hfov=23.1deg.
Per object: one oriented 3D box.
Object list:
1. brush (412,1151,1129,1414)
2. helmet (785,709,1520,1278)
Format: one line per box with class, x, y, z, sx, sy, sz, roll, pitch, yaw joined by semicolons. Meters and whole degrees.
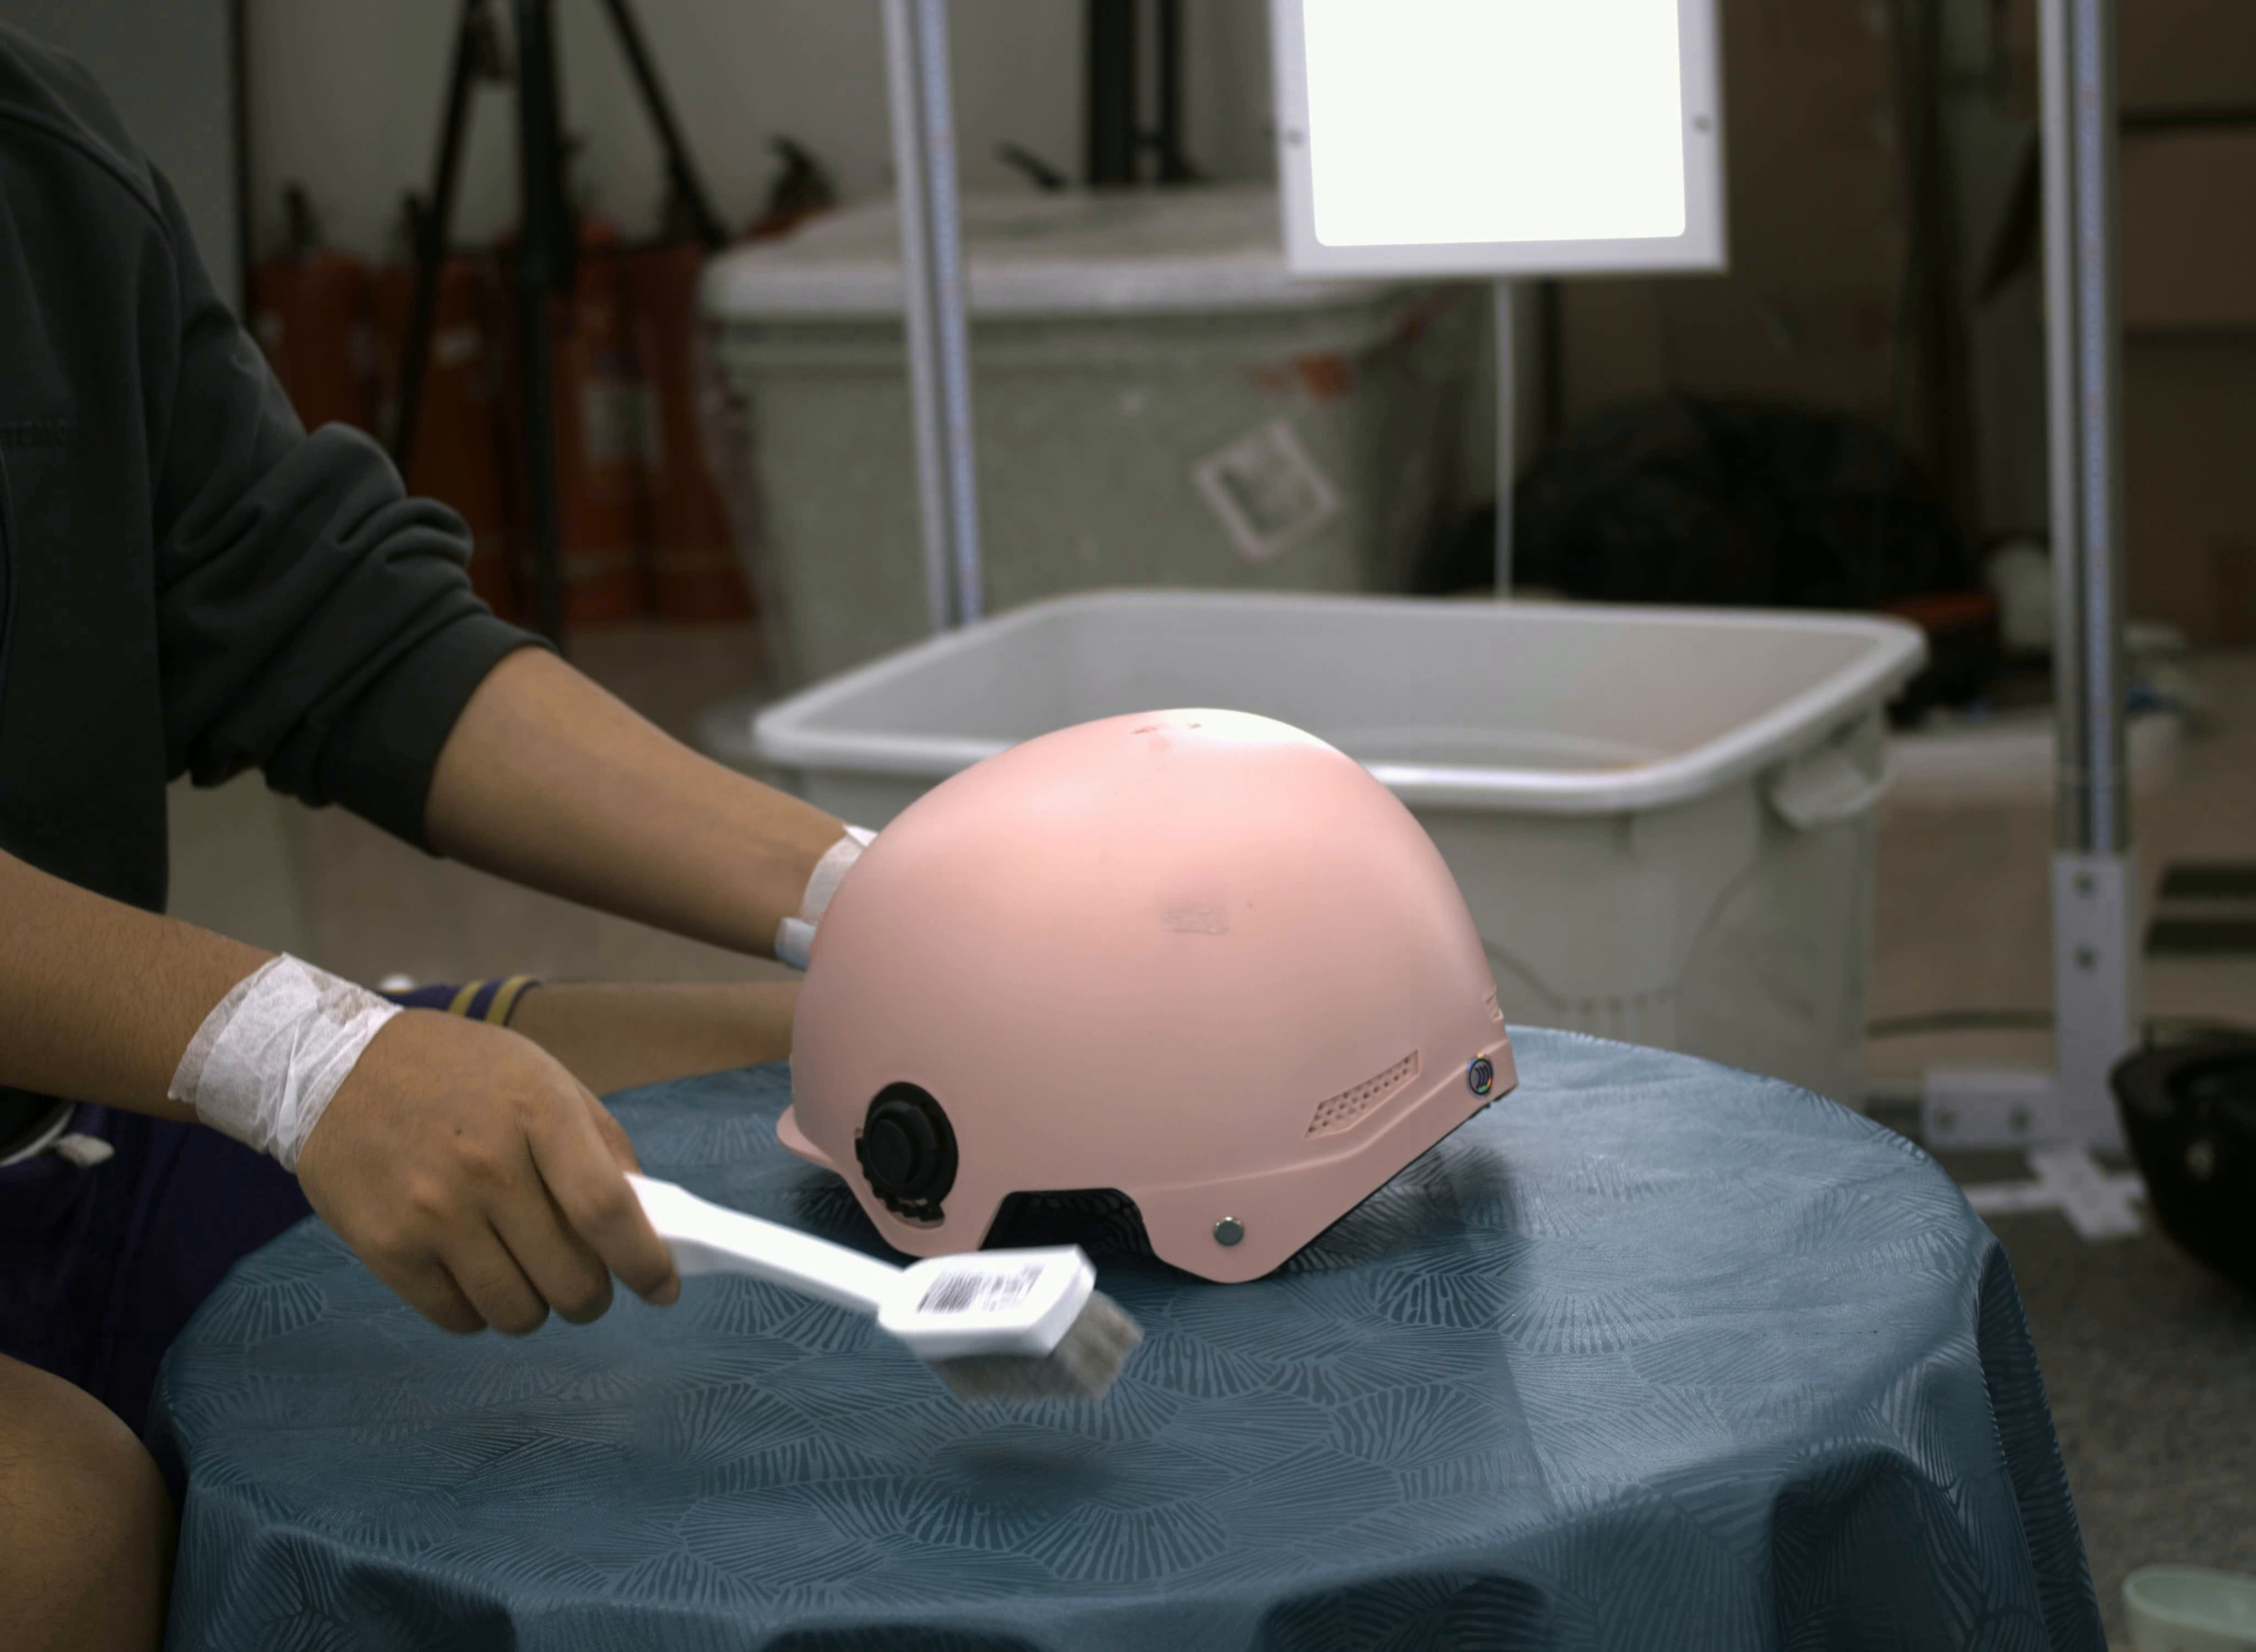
brush;-0.111;0.139;1.677;0.248;0.050;0.034;9;47;30
helmet;-0.002;0.043;1.887;0.271;0.159;0.228;2;20;33
